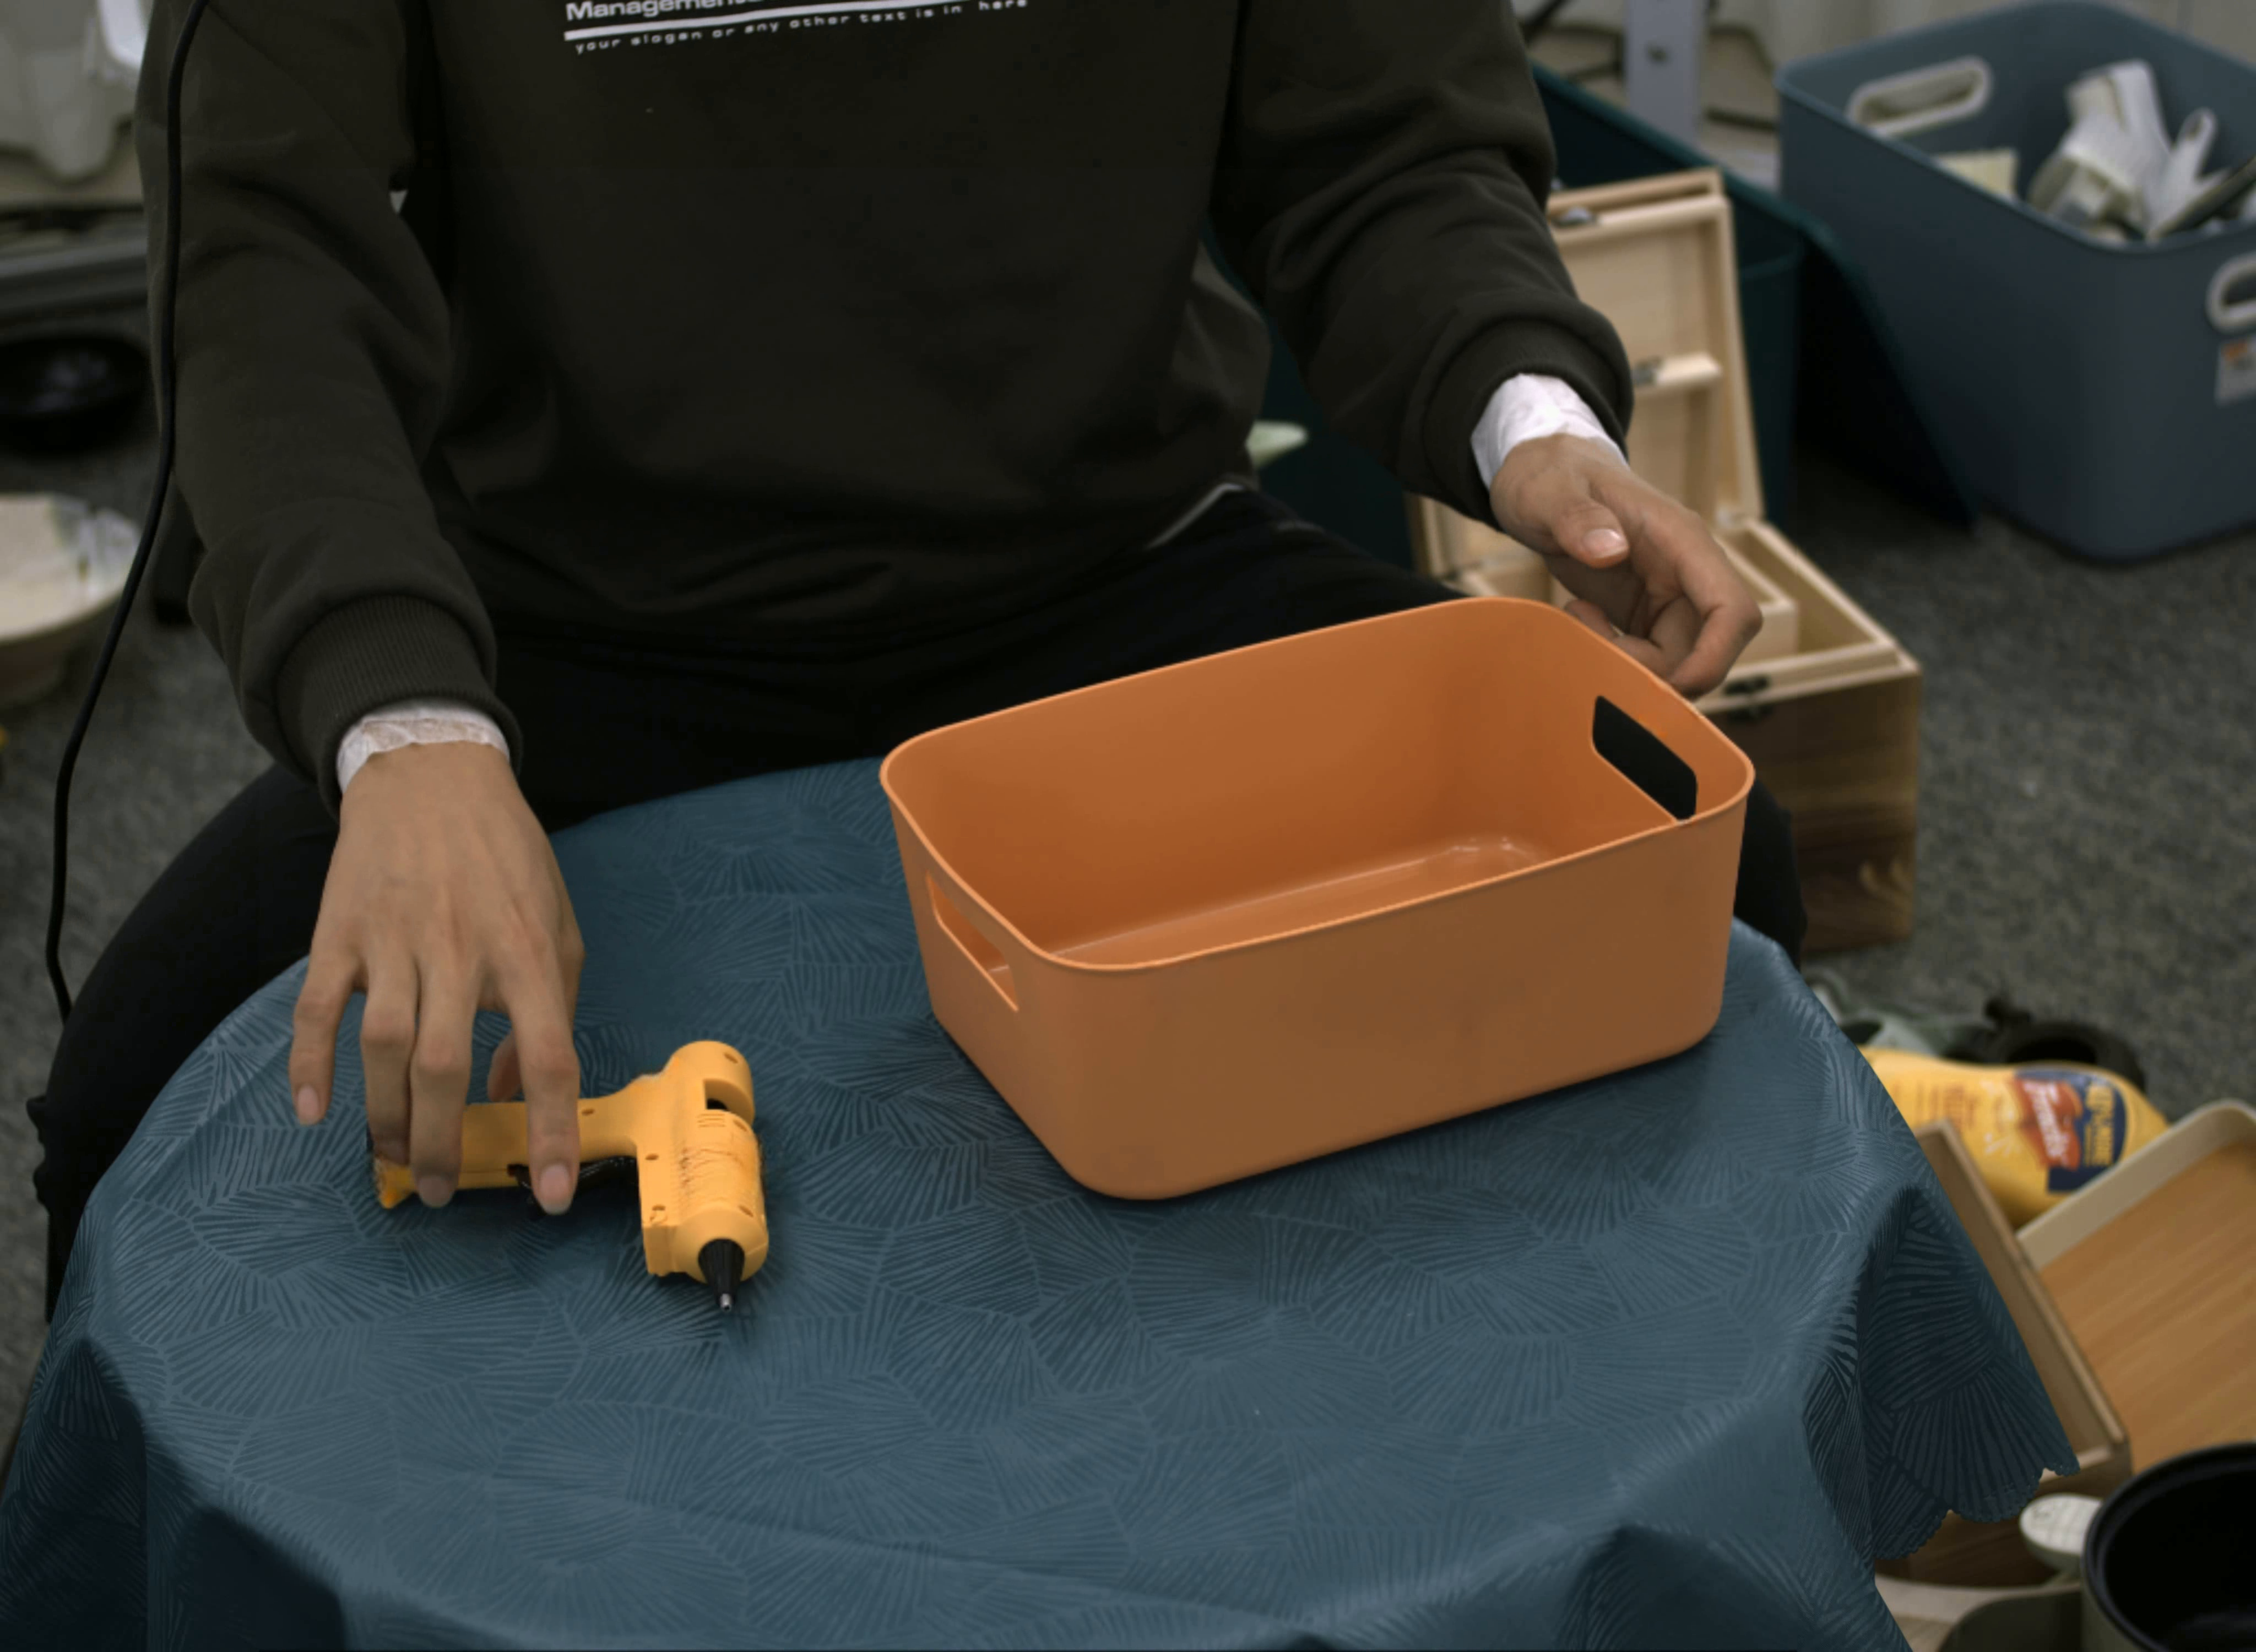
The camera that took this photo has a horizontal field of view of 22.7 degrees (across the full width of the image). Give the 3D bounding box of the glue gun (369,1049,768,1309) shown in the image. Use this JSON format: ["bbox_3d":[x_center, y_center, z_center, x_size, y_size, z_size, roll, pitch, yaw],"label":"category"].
[{"bbox_3d":[-0.180,0.127,1.847,0.133,0.031,0.153,-8,26,-8],"label":"glue gun"}]

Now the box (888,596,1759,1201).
[{"bbox_3d":[0.067,0.024,1.938,0.274,0.101,0.200,-15,29,-21],"label":"box"}]
